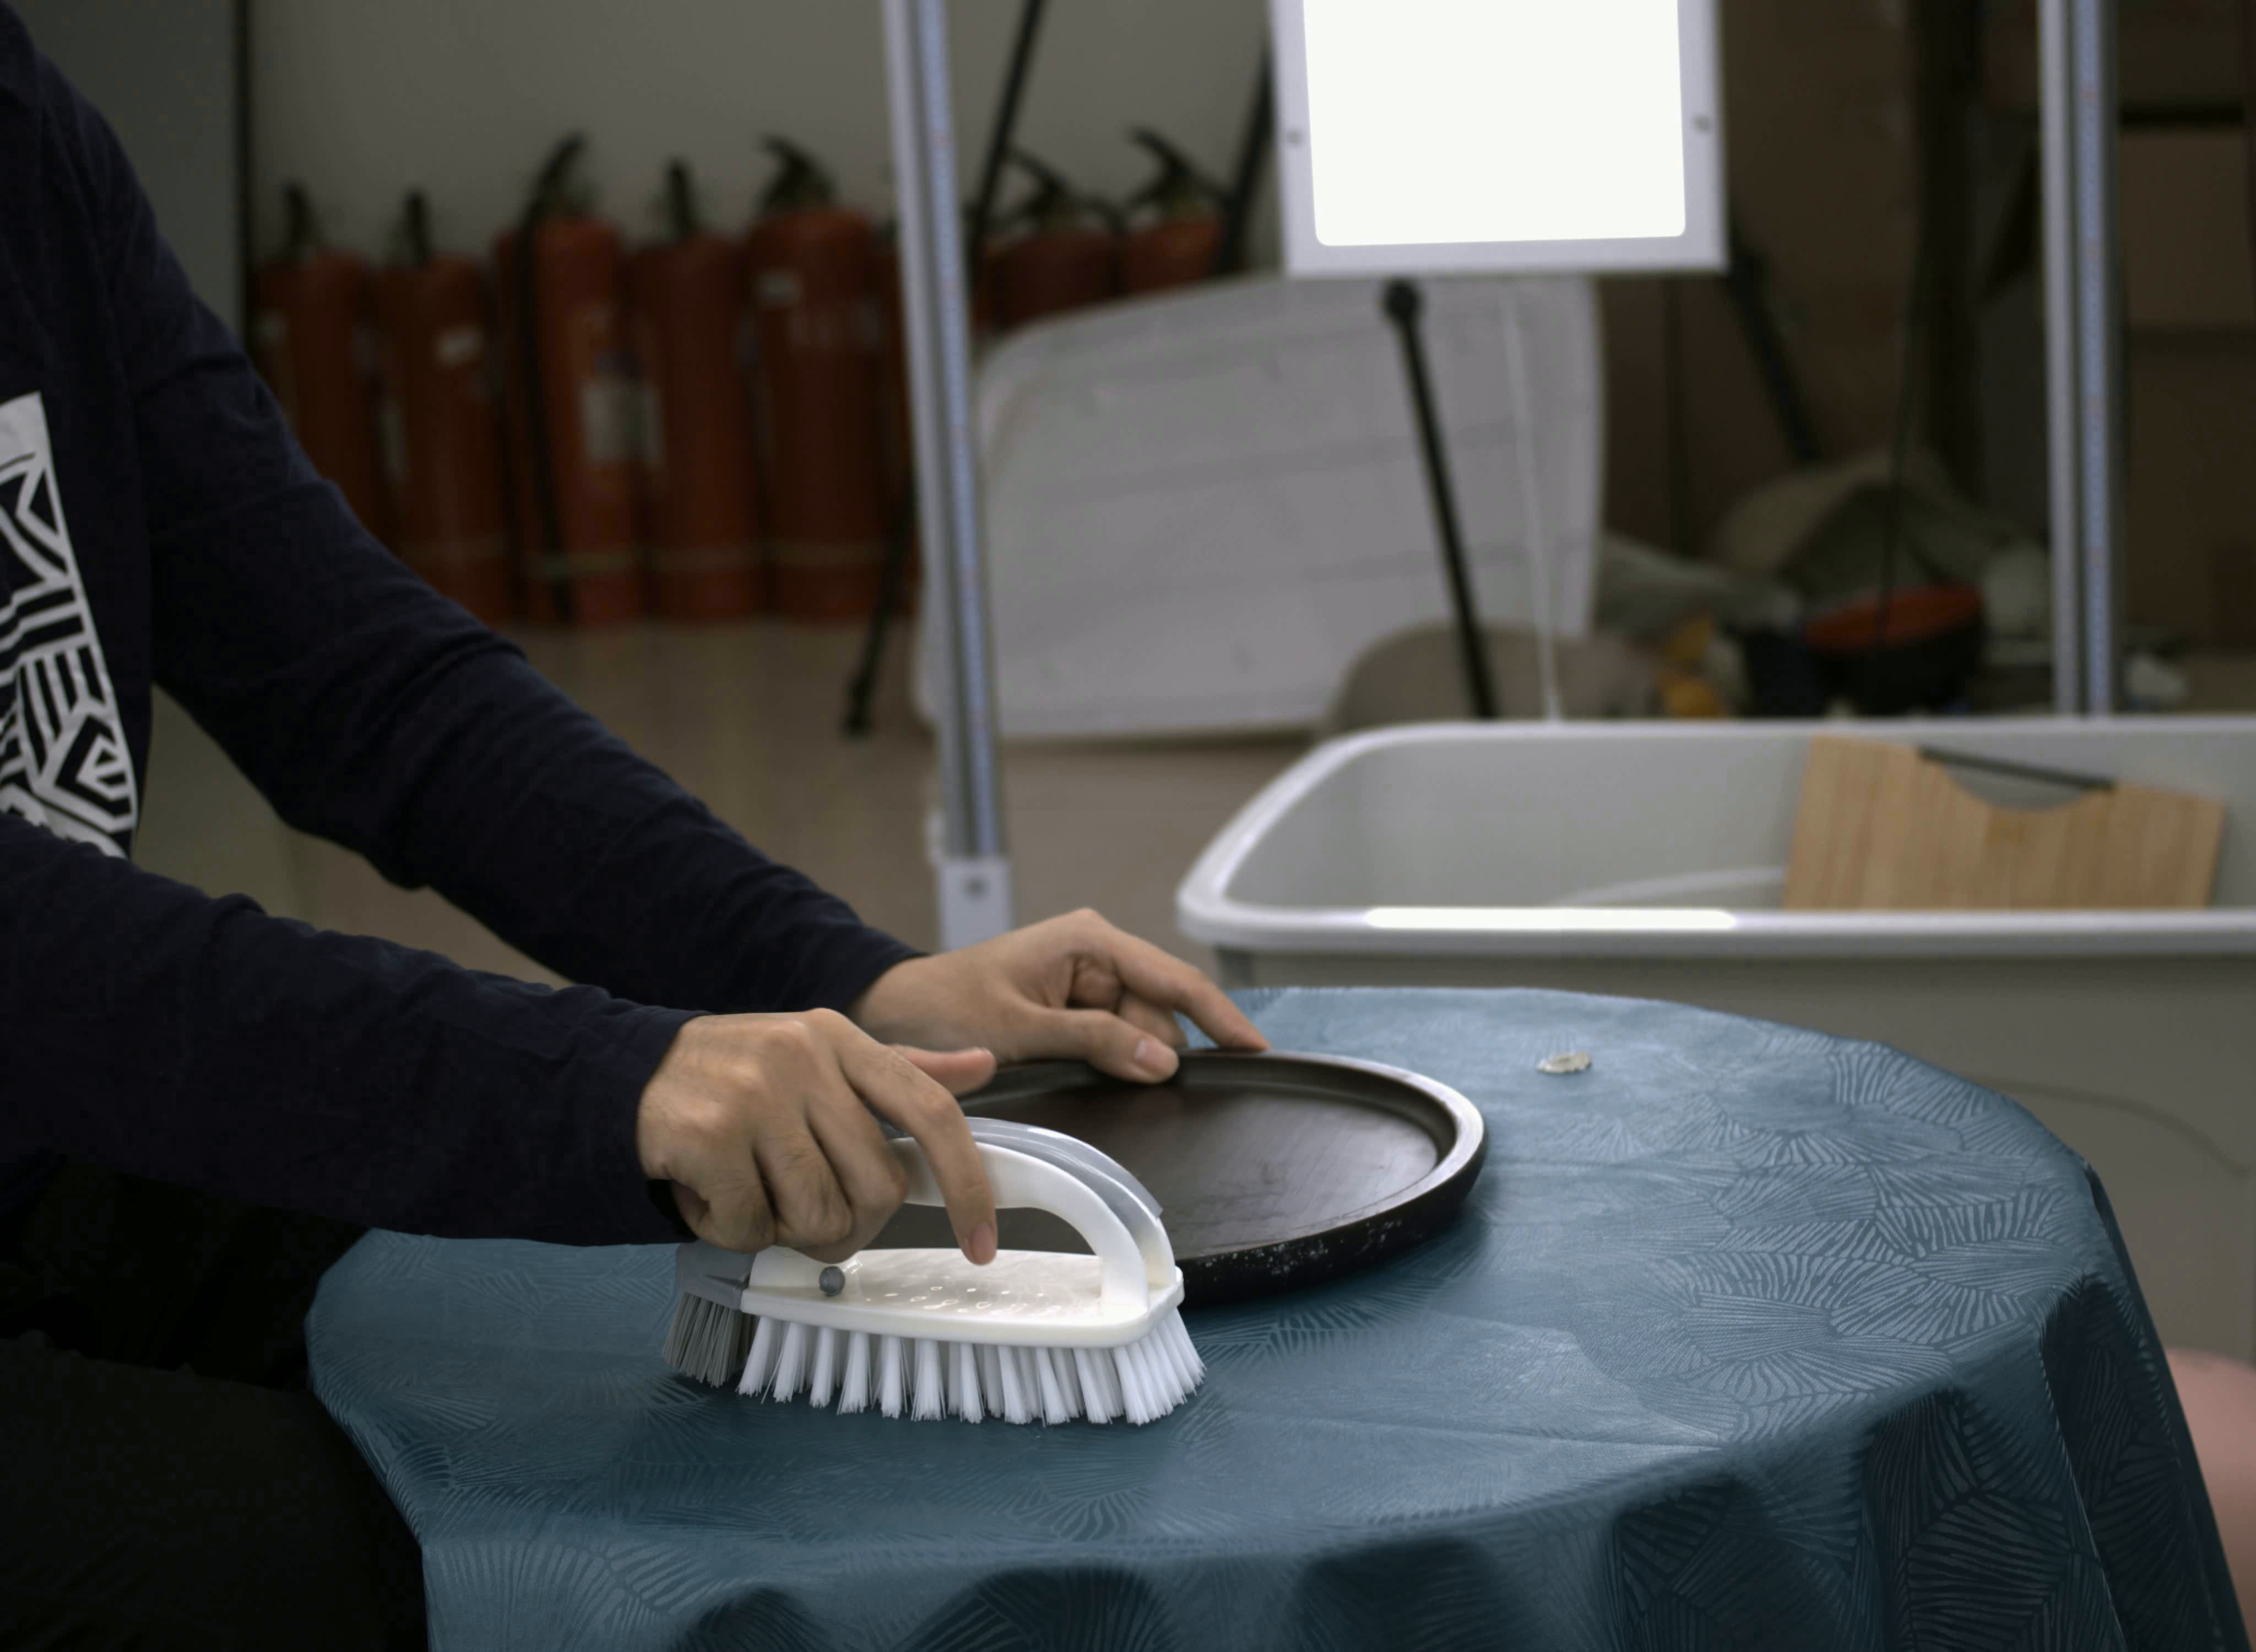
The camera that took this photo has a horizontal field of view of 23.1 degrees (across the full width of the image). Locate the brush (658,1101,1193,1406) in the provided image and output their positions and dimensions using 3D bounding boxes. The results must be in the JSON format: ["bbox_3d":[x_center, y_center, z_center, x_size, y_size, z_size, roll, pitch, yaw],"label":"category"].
[{"bbox_3d":[-0.070,0.132,1.704,0.178,0.094,0.060,-2,11,24],"label":"brush"}]

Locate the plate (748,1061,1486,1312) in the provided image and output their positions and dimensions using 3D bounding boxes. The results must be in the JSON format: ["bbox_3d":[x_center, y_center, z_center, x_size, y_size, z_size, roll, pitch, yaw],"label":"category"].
[{"bbox_3d":[-0.004,0.121,1.877,0.254,0.029,0.254,-4,14,0],"label":"plate"}]
